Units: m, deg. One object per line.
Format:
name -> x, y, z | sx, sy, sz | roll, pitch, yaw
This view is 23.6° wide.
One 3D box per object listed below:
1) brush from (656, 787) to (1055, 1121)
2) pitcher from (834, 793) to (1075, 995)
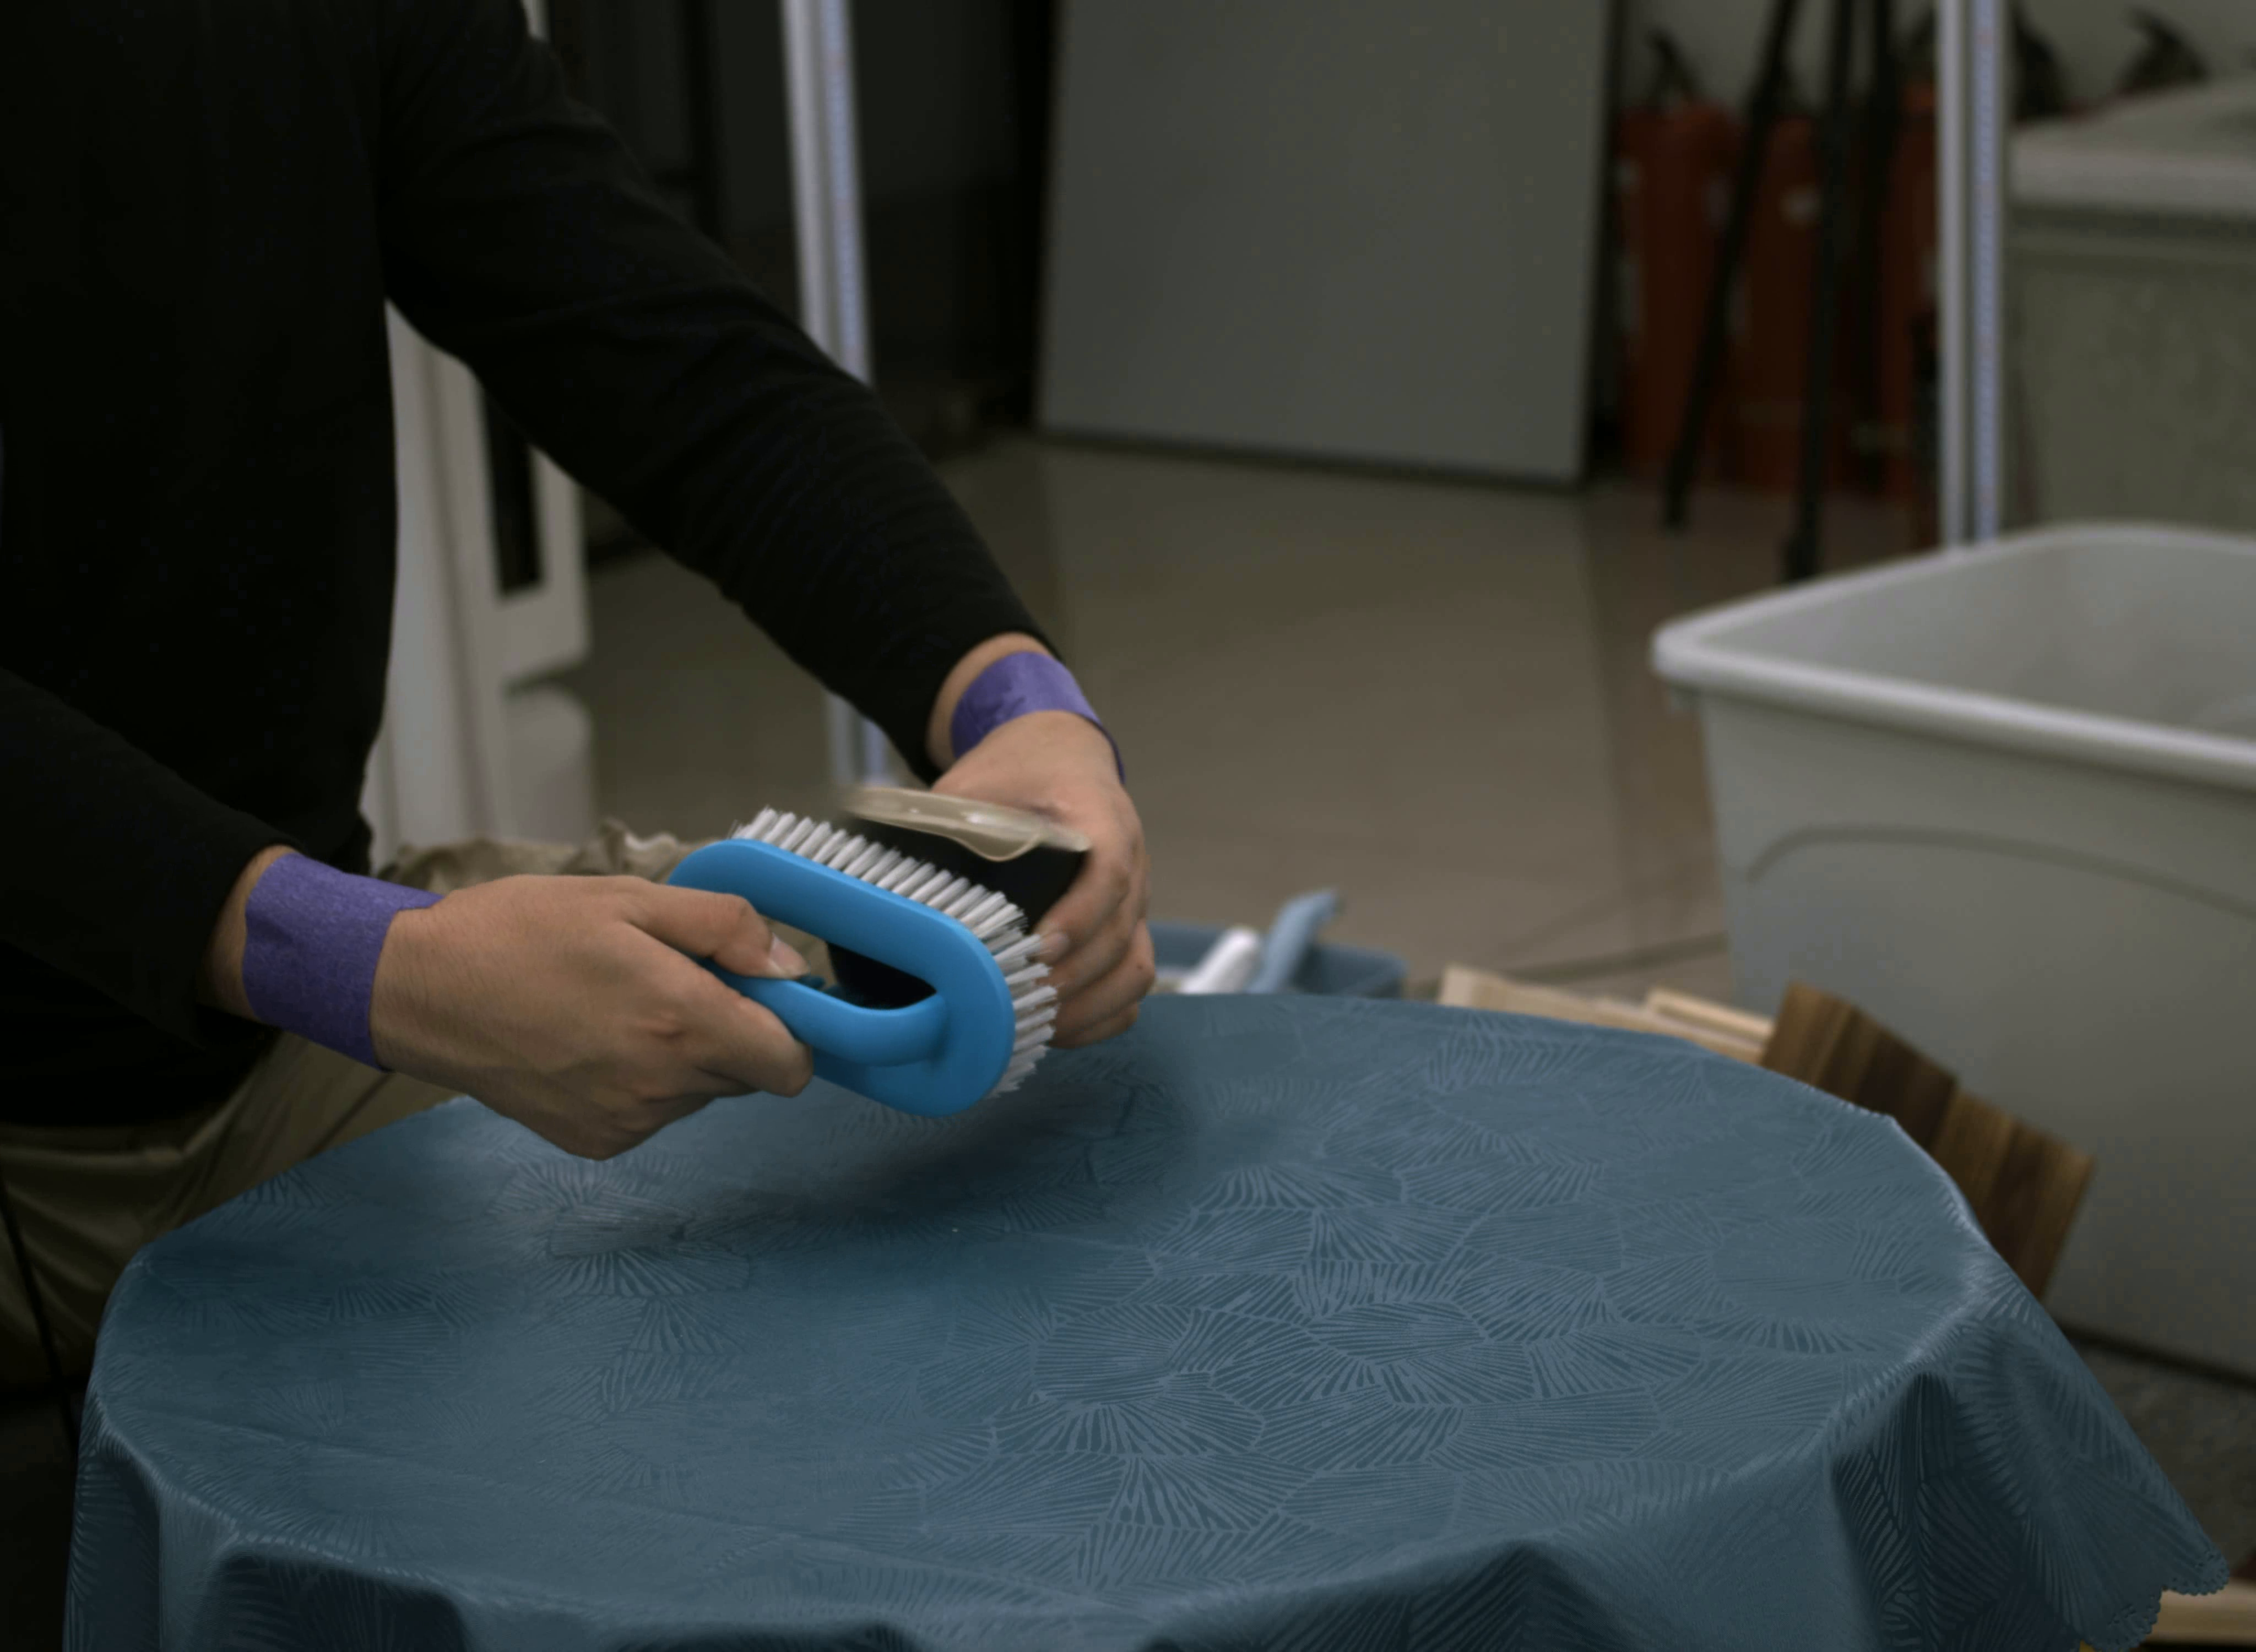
brush -> -0.097, 0.048, 1.752 | 0.142, 0.085, 0.063 | 23, 31, 26
pitcher -> -0.063, 0.029, 1.808 | 0.082, 0.072, 0.096 | 11, 9, -9
